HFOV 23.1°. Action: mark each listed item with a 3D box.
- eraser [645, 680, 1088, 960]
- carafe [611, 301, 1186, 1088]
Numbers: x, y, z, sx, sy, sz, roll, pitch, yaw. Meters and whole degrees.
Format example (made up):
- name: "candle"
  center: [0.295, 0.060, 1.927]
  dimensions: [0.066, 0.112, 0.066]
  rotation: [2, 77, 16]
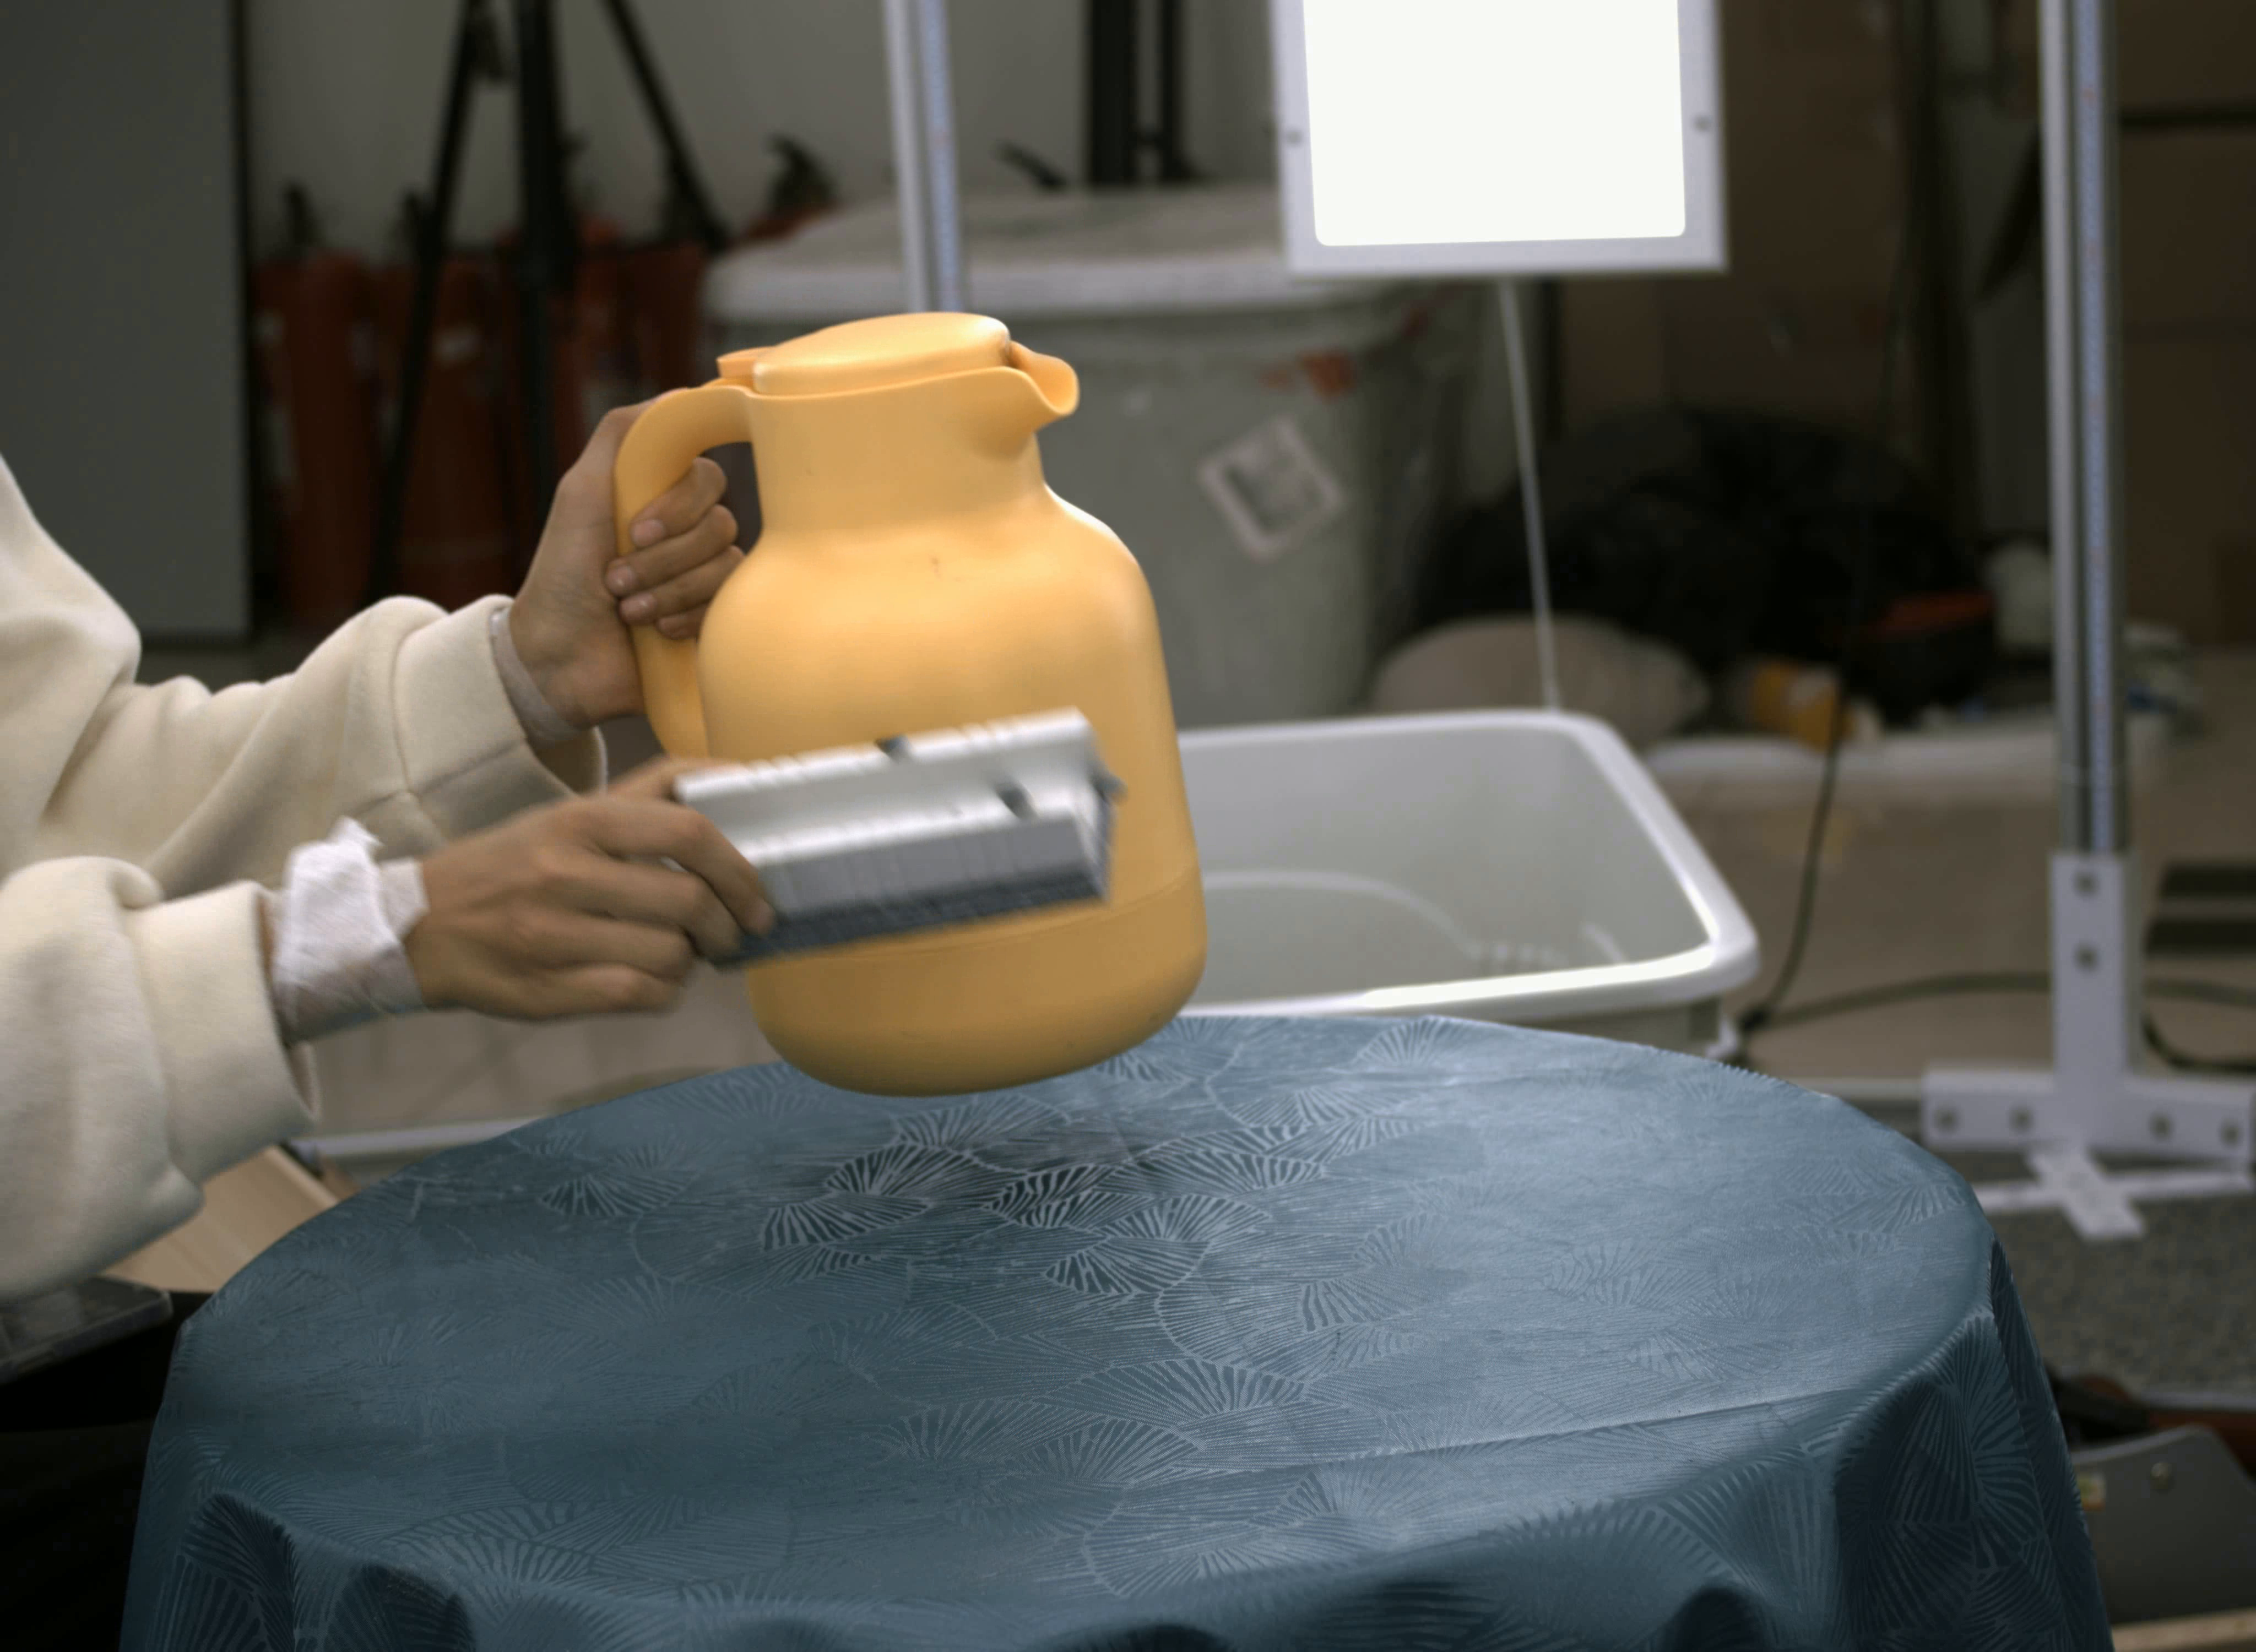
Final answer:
- name: "eraser"
  center: [-0.081, -0.001, 1.726]
  dimensions: [0.135, 0.046, 0.049]
  rotation: [-12, 42, 12]
- name: "carafe"
  center: [-0.085, -0.049, 1.908]
  dimensions: [0.207, 0.261, 0.159]
  rotation: [2, 13, 37]
